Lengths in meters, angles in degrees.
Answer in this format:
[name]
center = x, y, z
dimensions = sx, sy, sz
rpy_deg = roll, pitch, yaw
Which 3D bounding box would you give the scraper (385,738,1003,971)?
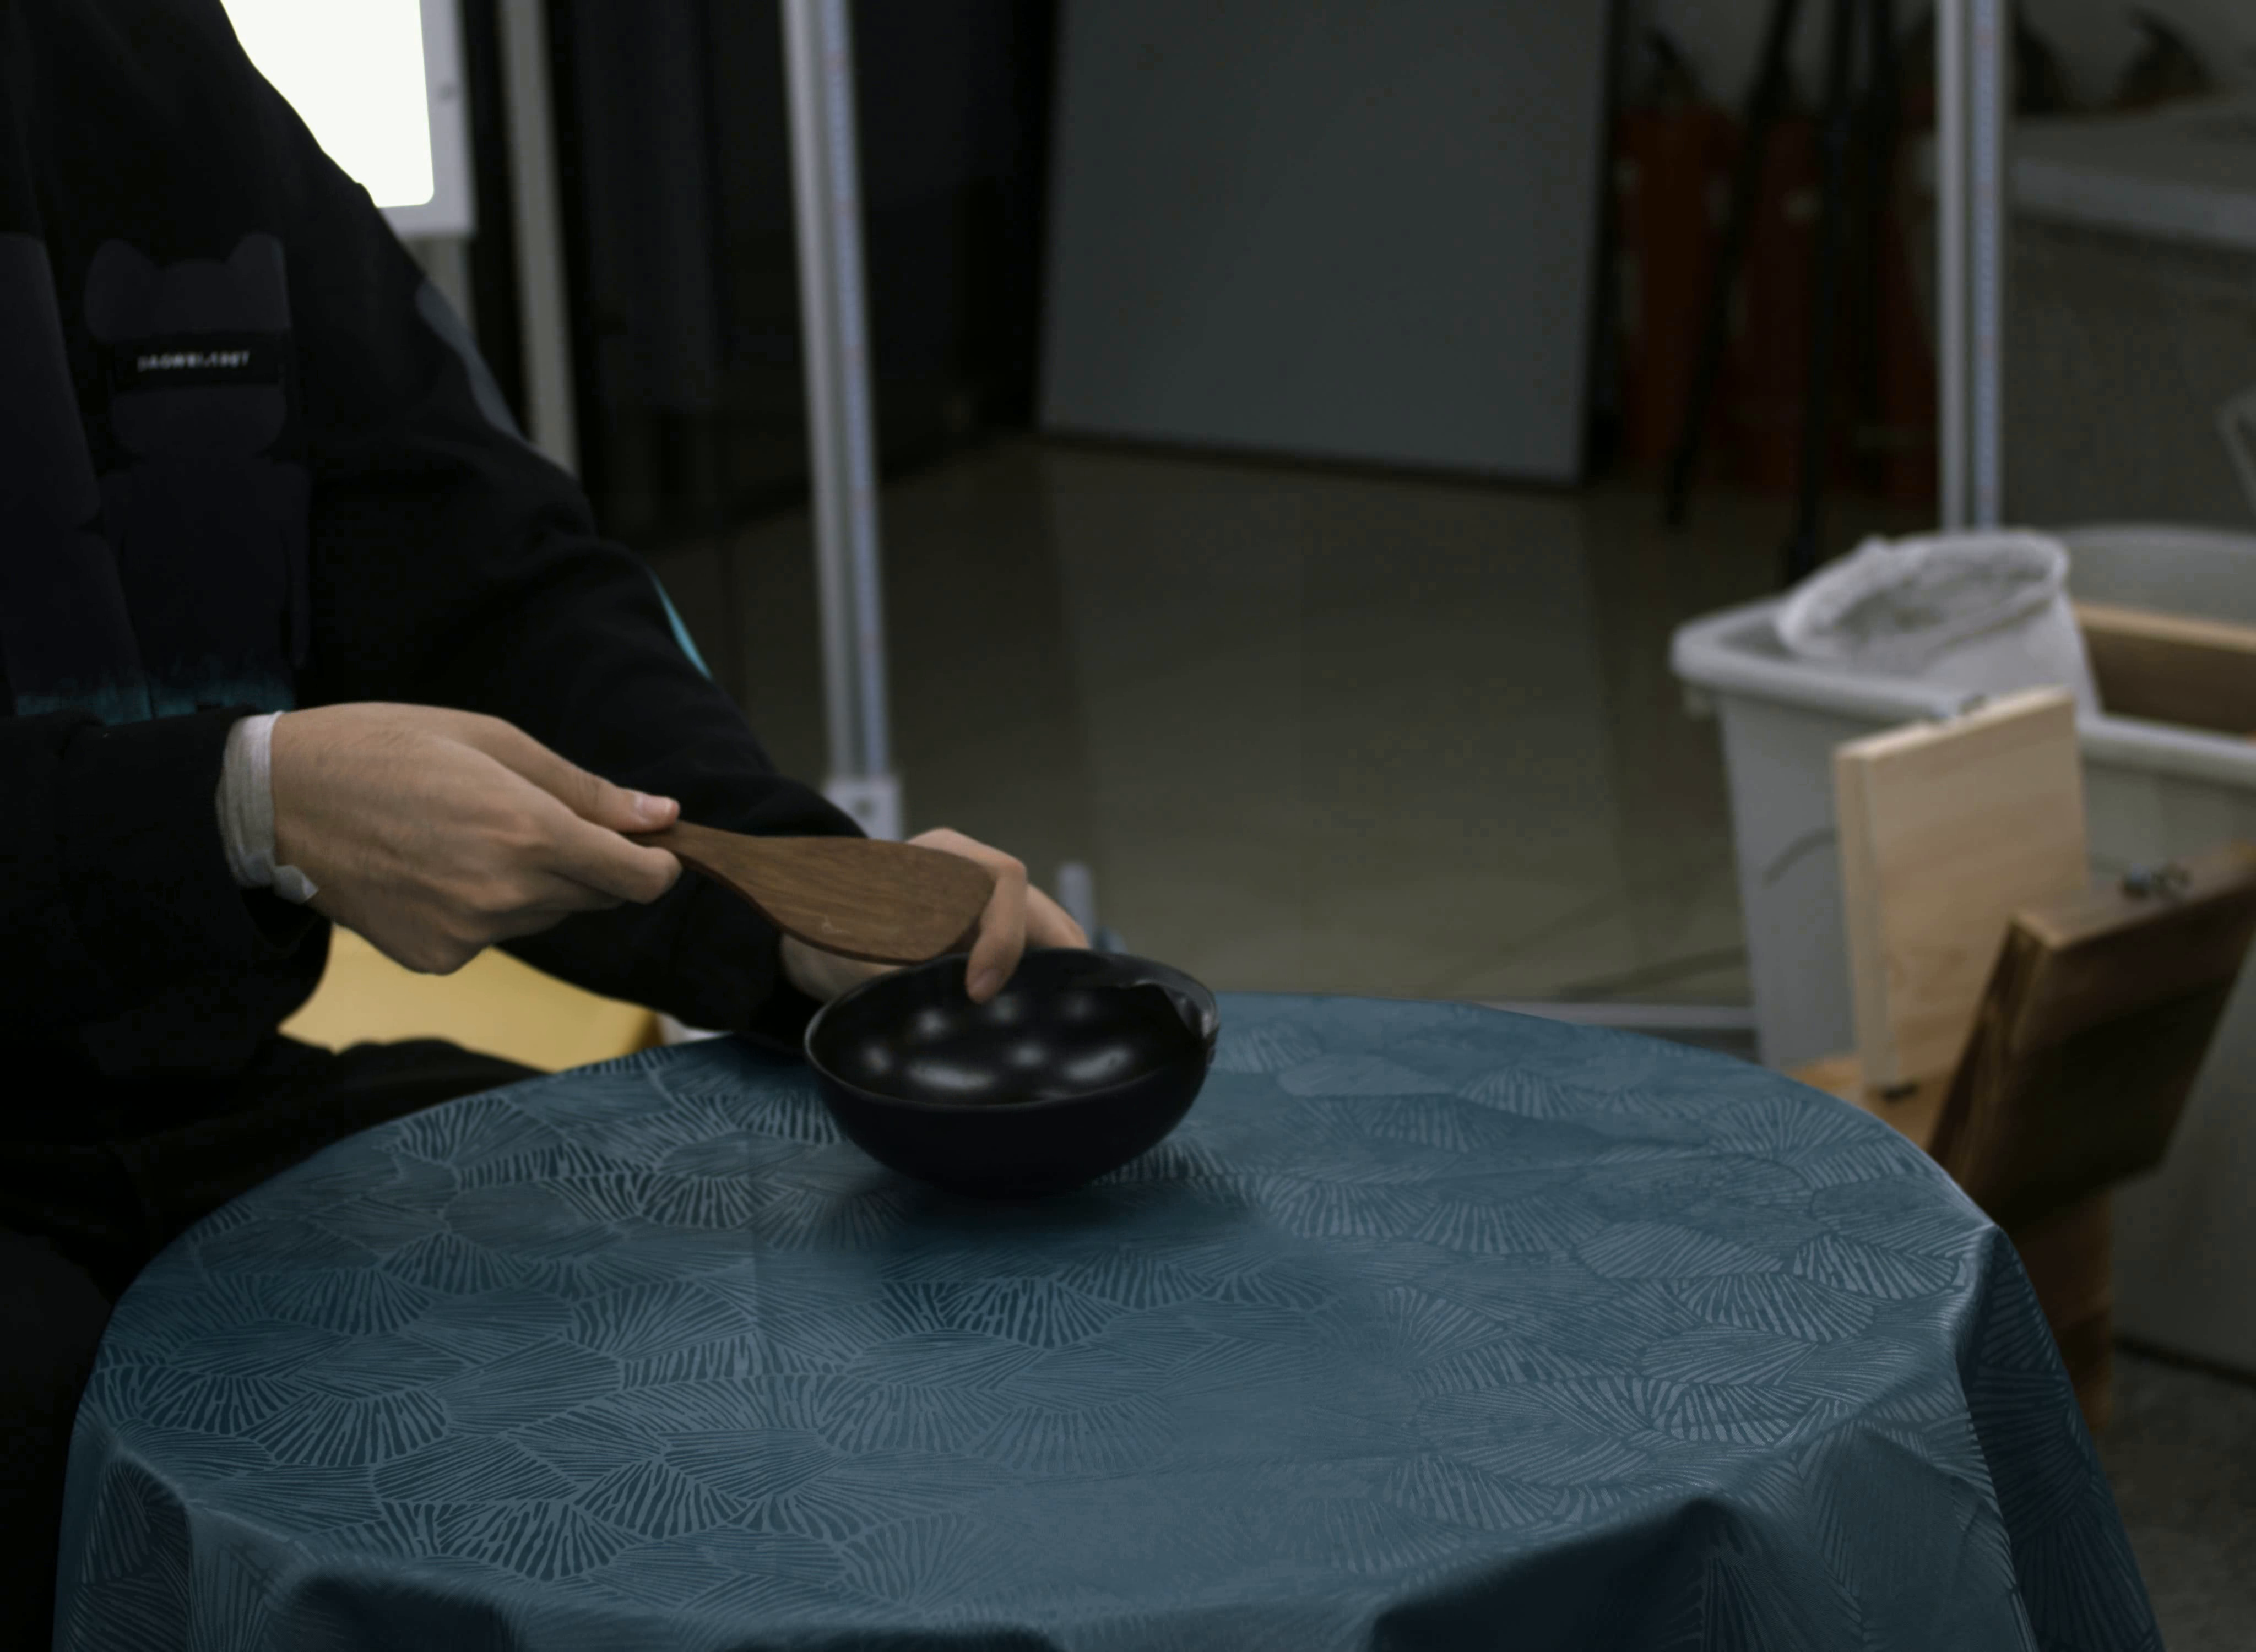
[scraper]
center = -0.145, 0.005, 1.770
dimensions = 0.210, 0.011, 0.075
rpy_deg = 16, 31, 14

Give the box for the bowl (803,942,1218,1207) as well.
[bowl]
center = -0.036, 0.088, 1.782
dimensions = 0.138, 0.050, 0.140
rpy_deg = -7, 21, 2
